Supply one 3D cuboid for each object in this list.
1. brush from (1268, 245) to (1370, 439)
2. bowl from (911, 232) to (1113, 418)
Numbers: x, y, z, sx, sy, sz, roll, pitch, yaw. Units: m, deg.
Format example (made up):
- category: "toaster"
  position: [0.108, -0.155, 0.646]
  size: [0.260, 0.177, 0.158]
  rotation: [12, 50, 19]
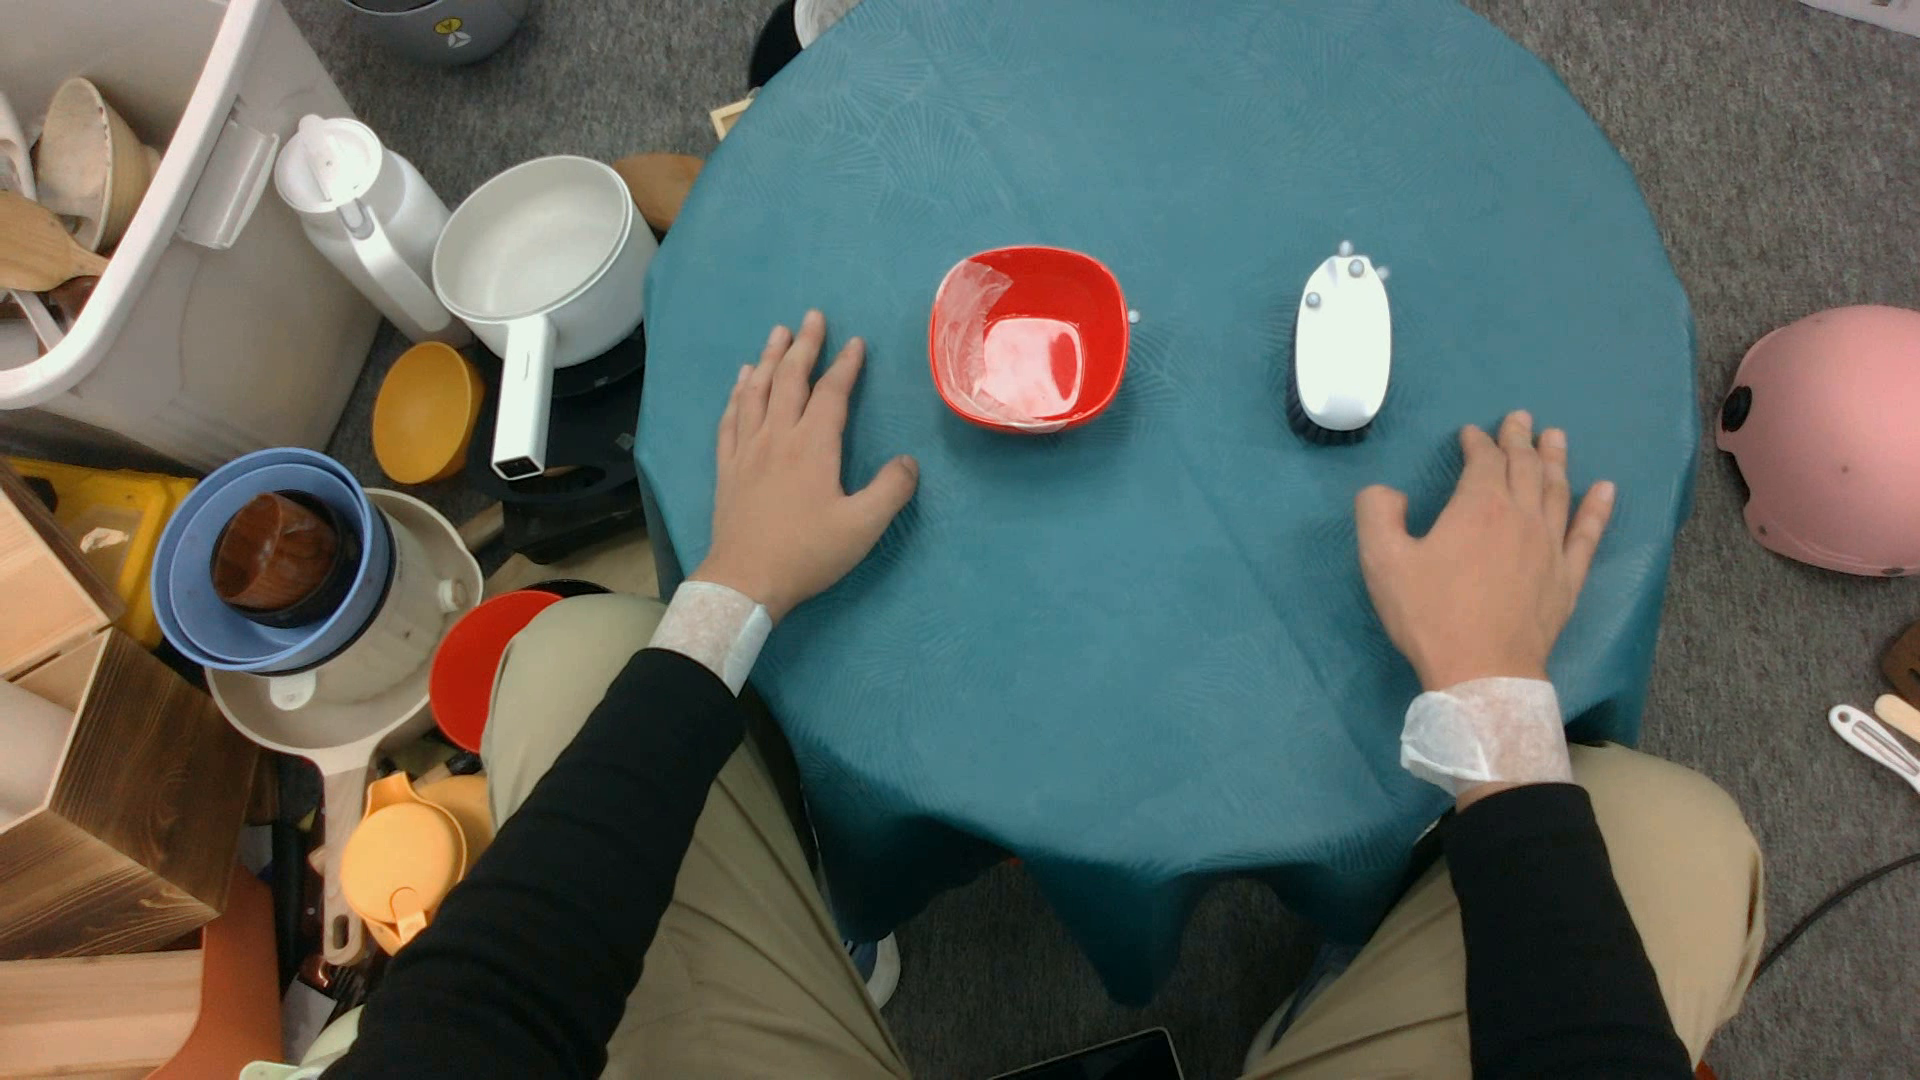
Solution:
- category: "brush"
  position: [0.199, -0.114, 0.752]
  size: [0.050, 0.072, 0.099]
  rotation: [7, 73, 5]
- category: "bowl"
  position: [0.029, -0.112, 0.772]
  size: [0.119, 0.051, 0.119]
  rotation: [-1, 69, 2]
